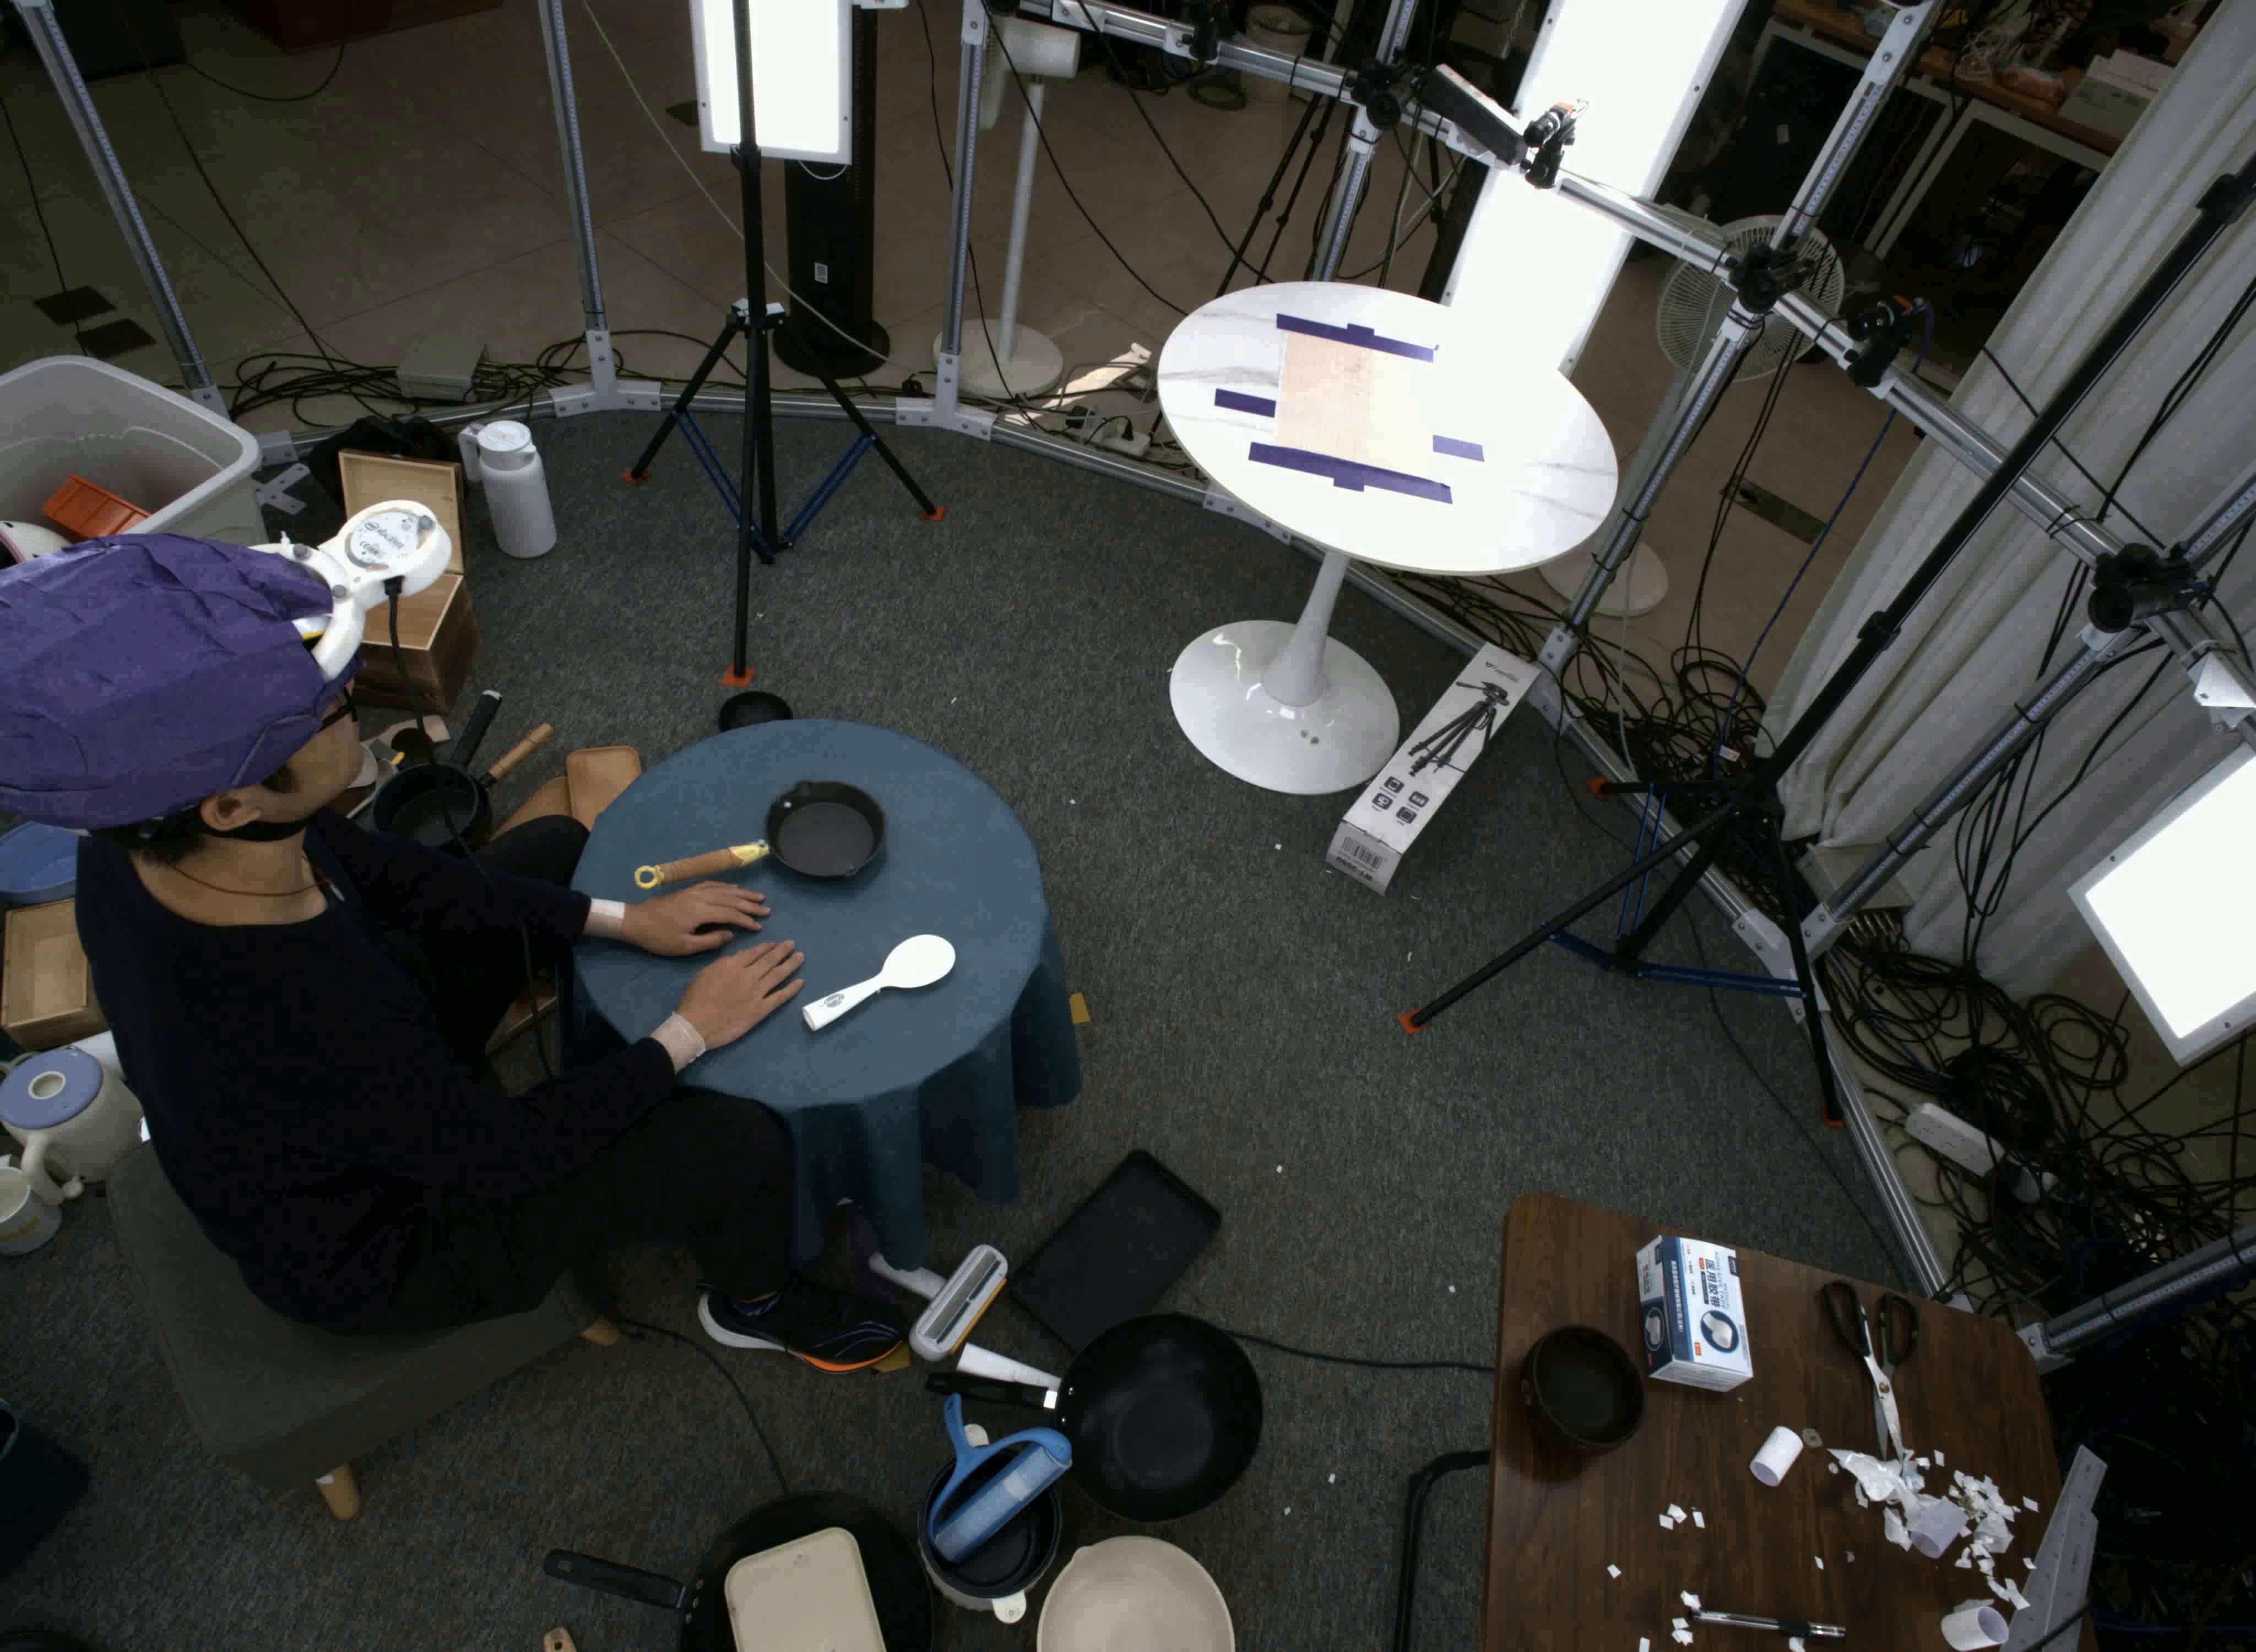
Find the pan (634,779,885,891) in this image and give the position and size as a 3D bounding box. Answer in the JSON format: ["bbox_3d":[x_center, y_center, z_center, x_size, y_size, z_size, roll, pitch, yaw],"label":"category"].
[{"bbox_3d":[-0.467,0.028,1.649,0.326,0.050,0.165,-17,60,-27],"label":"pan"}]

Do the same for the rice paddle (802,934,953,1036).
[{"bbox_3d":[-0.302,0.188,1.587,0.206,0.030,0.067,-29,67,-30],"label":"rice paddle"}]
